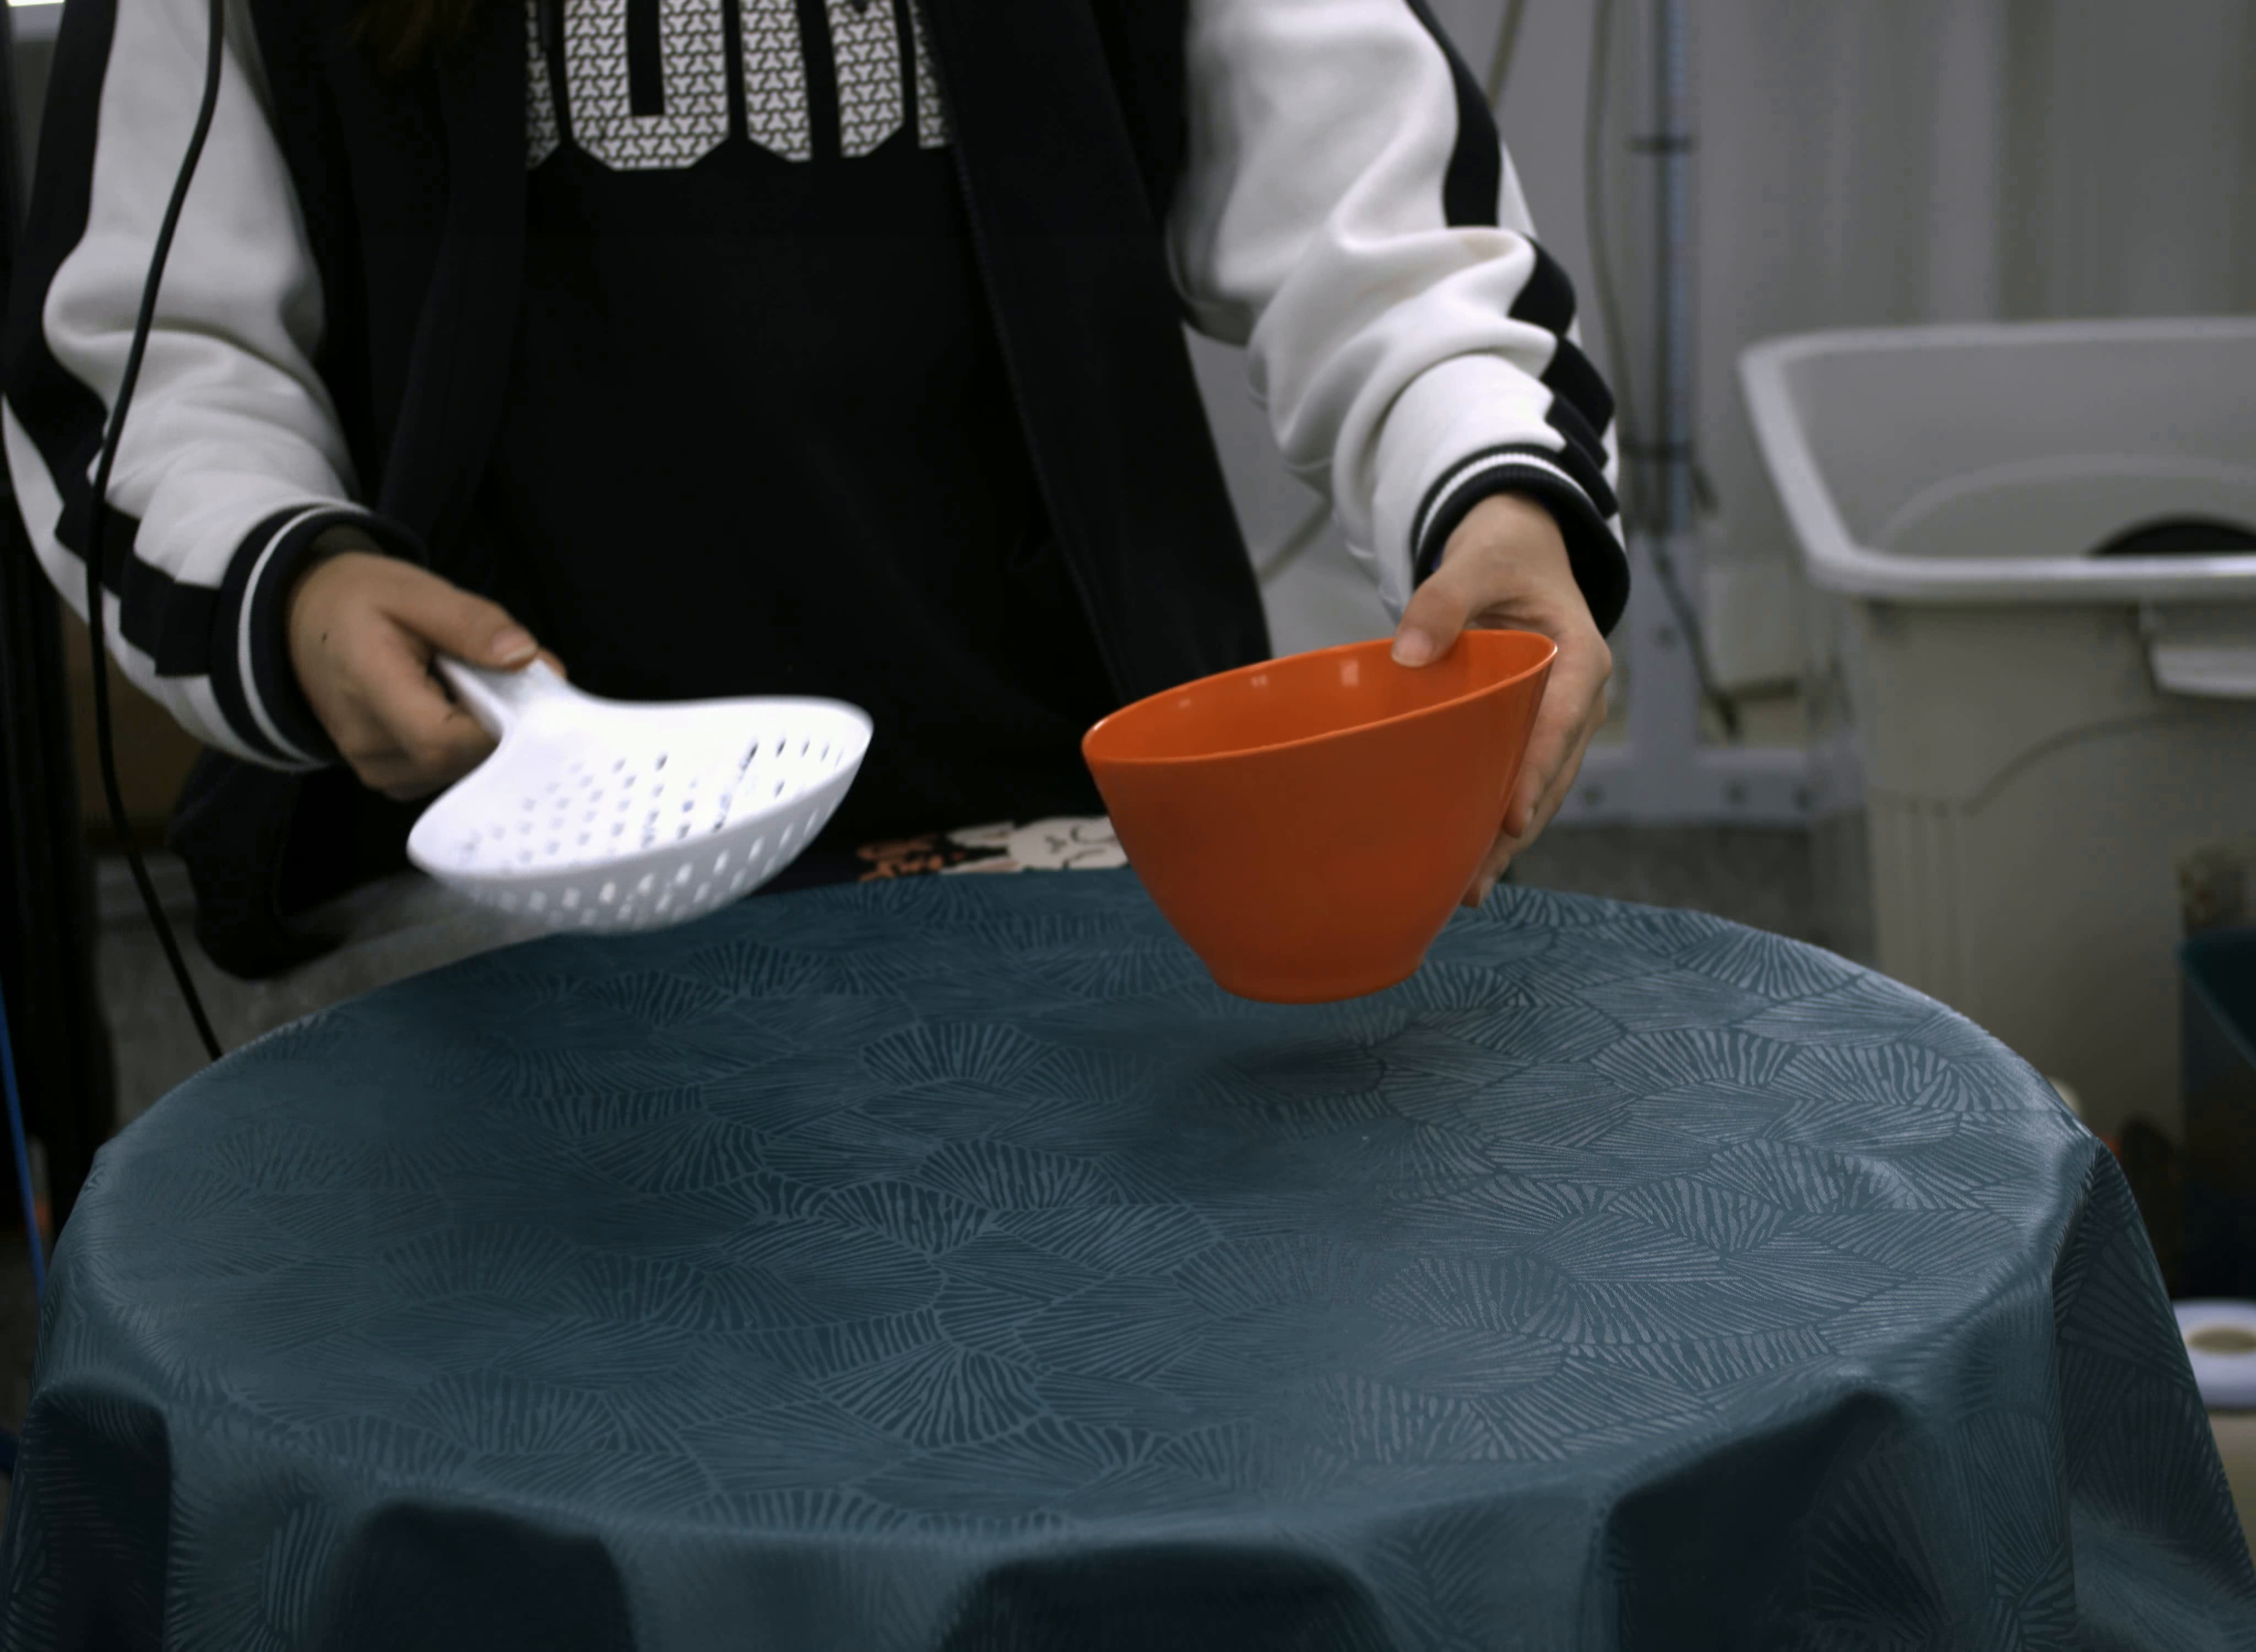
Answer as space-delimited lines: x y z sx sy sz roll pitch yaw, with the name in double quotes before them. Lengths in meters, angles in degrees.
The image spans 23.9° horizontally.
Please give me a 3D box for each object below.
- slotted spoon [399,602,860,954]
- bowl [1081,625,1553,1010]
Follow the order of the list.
"slotted spoon" -0.177 -0.024 1.631 0.134 0.045 0.356 -18 23 -14
"bowl" 0.062 -0.001 1.634 0.147 0.104 0.149 -8 19 1
